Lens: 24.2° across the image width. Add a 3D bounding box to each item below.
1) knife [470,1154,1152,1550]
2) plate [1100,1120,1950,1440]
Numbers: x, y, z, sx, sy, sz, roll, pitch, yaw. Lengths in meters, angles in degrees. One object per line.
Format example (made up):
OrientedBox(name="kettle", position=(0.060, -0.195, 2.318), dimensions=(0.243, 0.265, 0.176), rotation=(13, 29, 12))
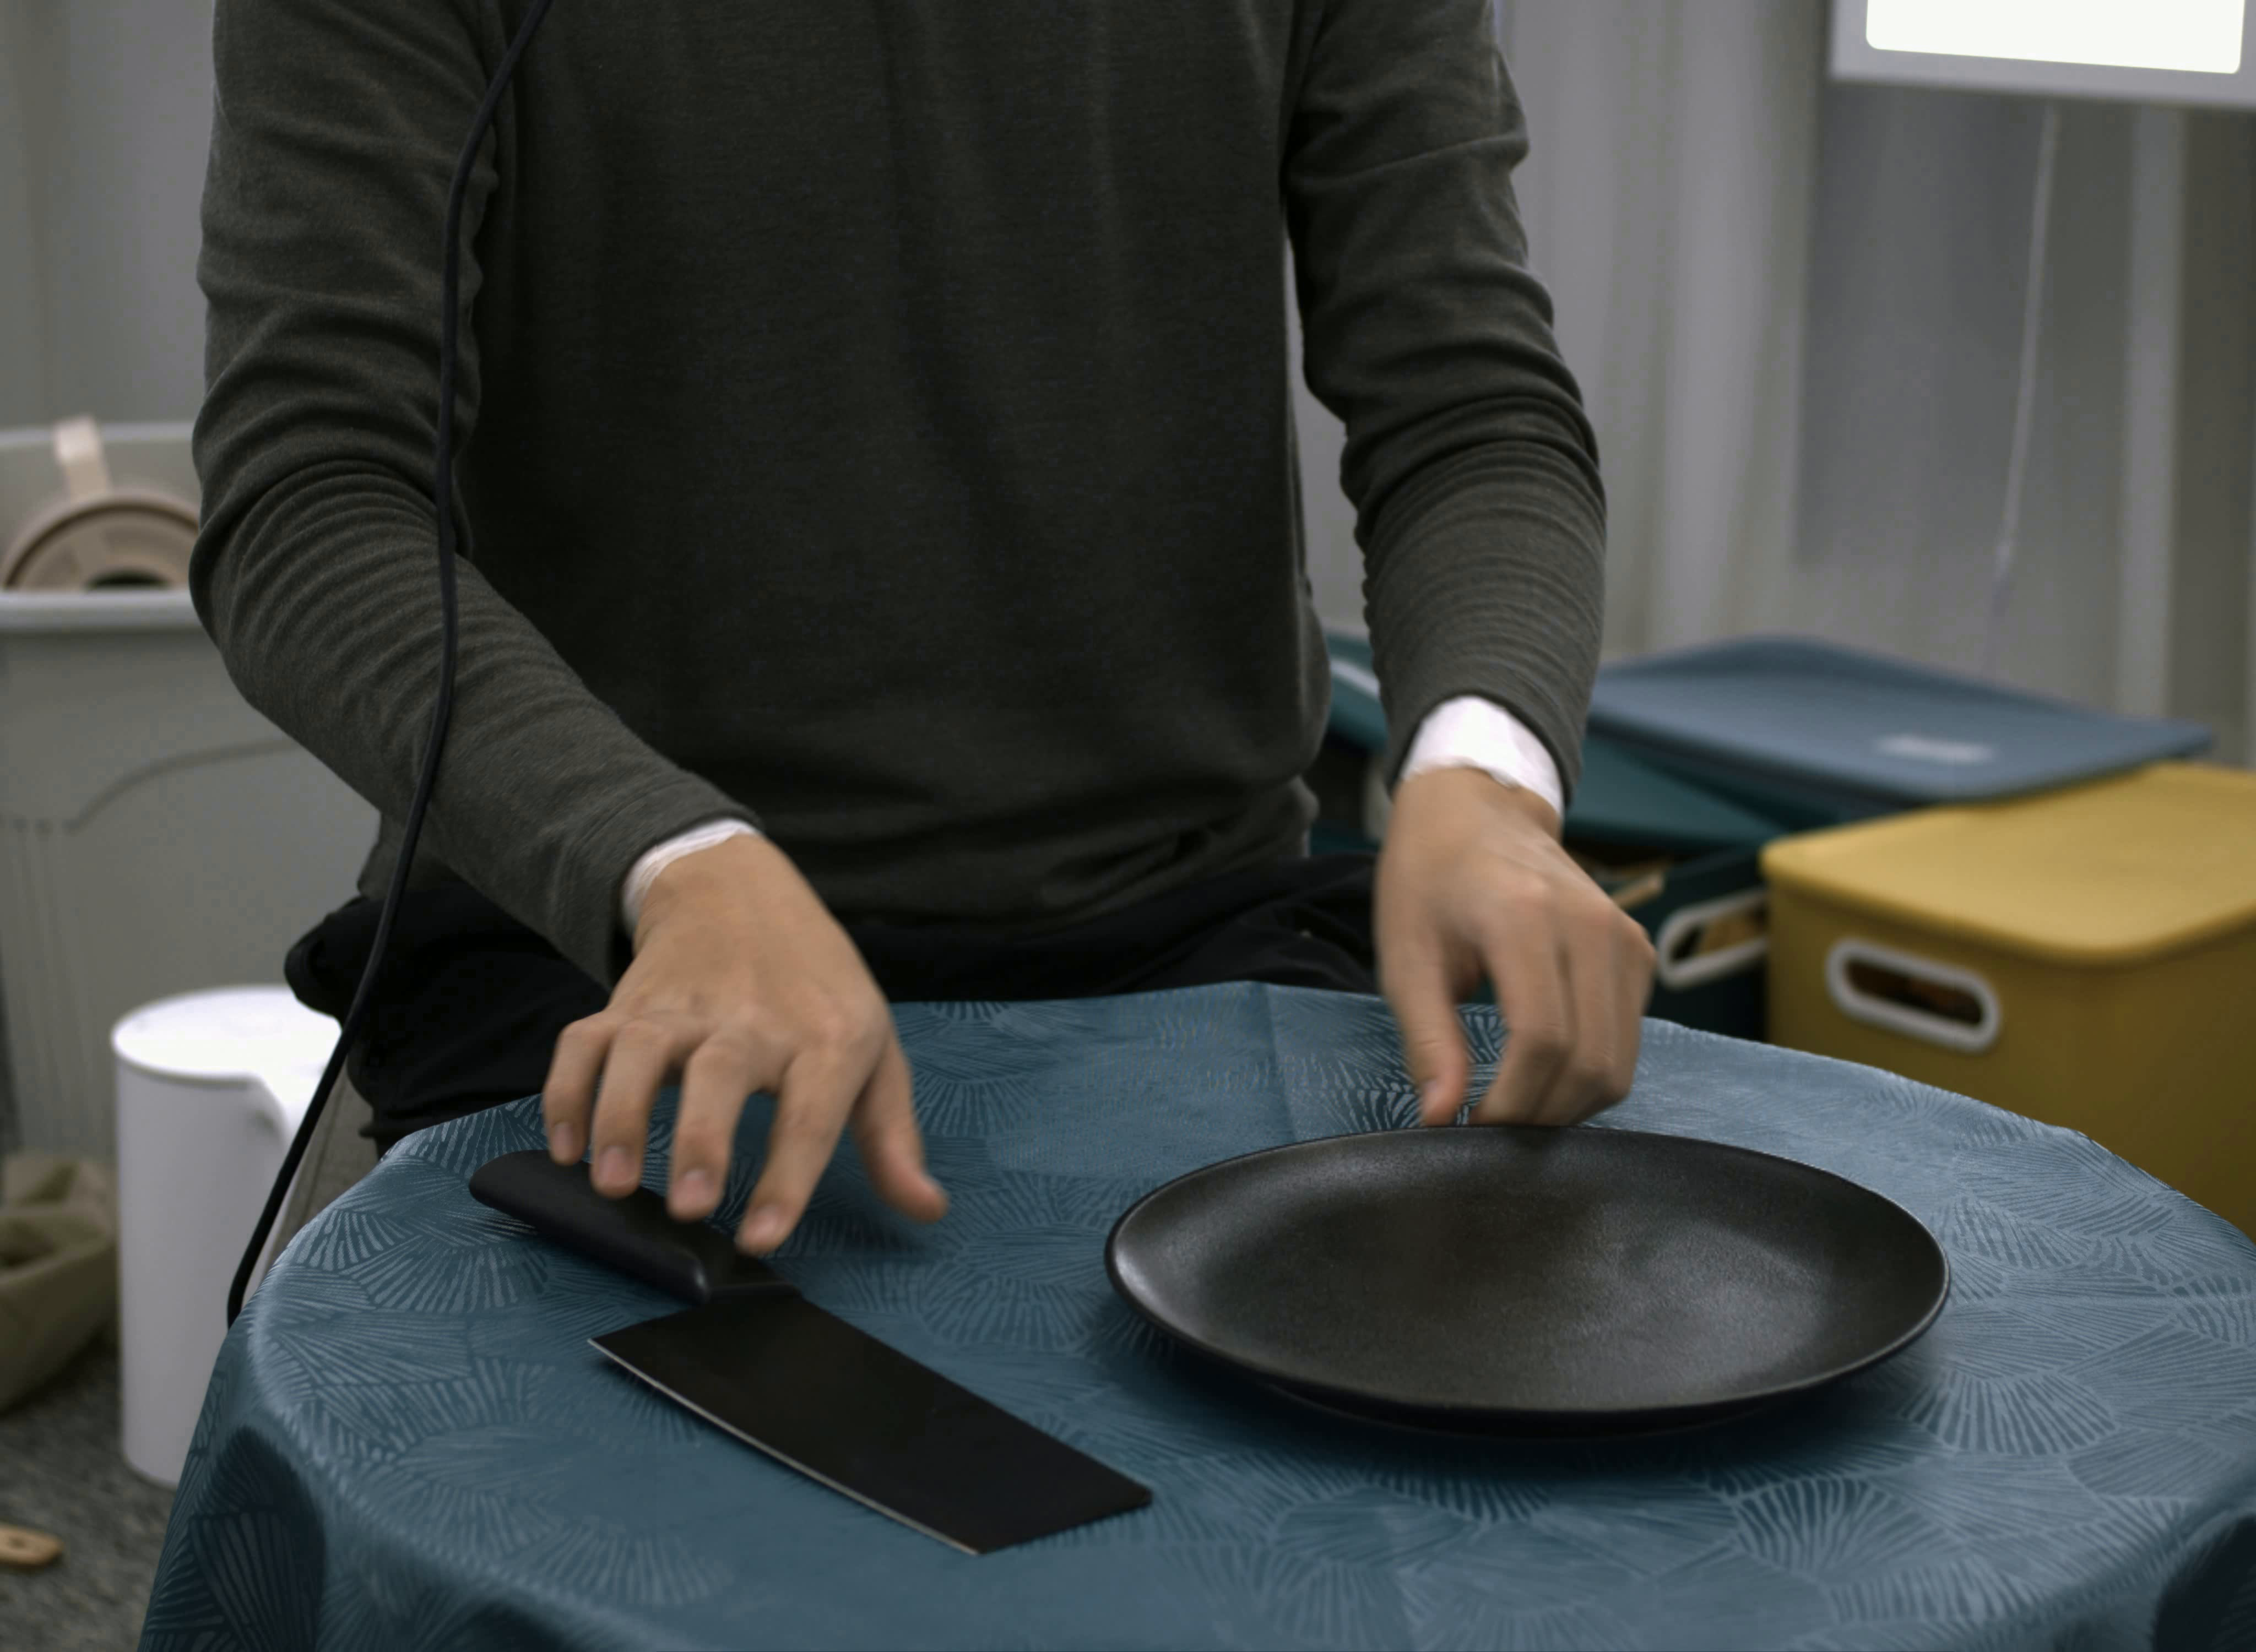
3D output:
OrientedBox(name="knife", position=(-0.105, 0.145, 1.477), dimensions=(0.081, 0.021, 0.298), rotation=(-10, 20, -32))
OrientedBox(name="plate", position=(0.113, 0.133, 1.512), dimensions=(0.243, 0.023, 0.243), rotation=(1, 15, 0))
